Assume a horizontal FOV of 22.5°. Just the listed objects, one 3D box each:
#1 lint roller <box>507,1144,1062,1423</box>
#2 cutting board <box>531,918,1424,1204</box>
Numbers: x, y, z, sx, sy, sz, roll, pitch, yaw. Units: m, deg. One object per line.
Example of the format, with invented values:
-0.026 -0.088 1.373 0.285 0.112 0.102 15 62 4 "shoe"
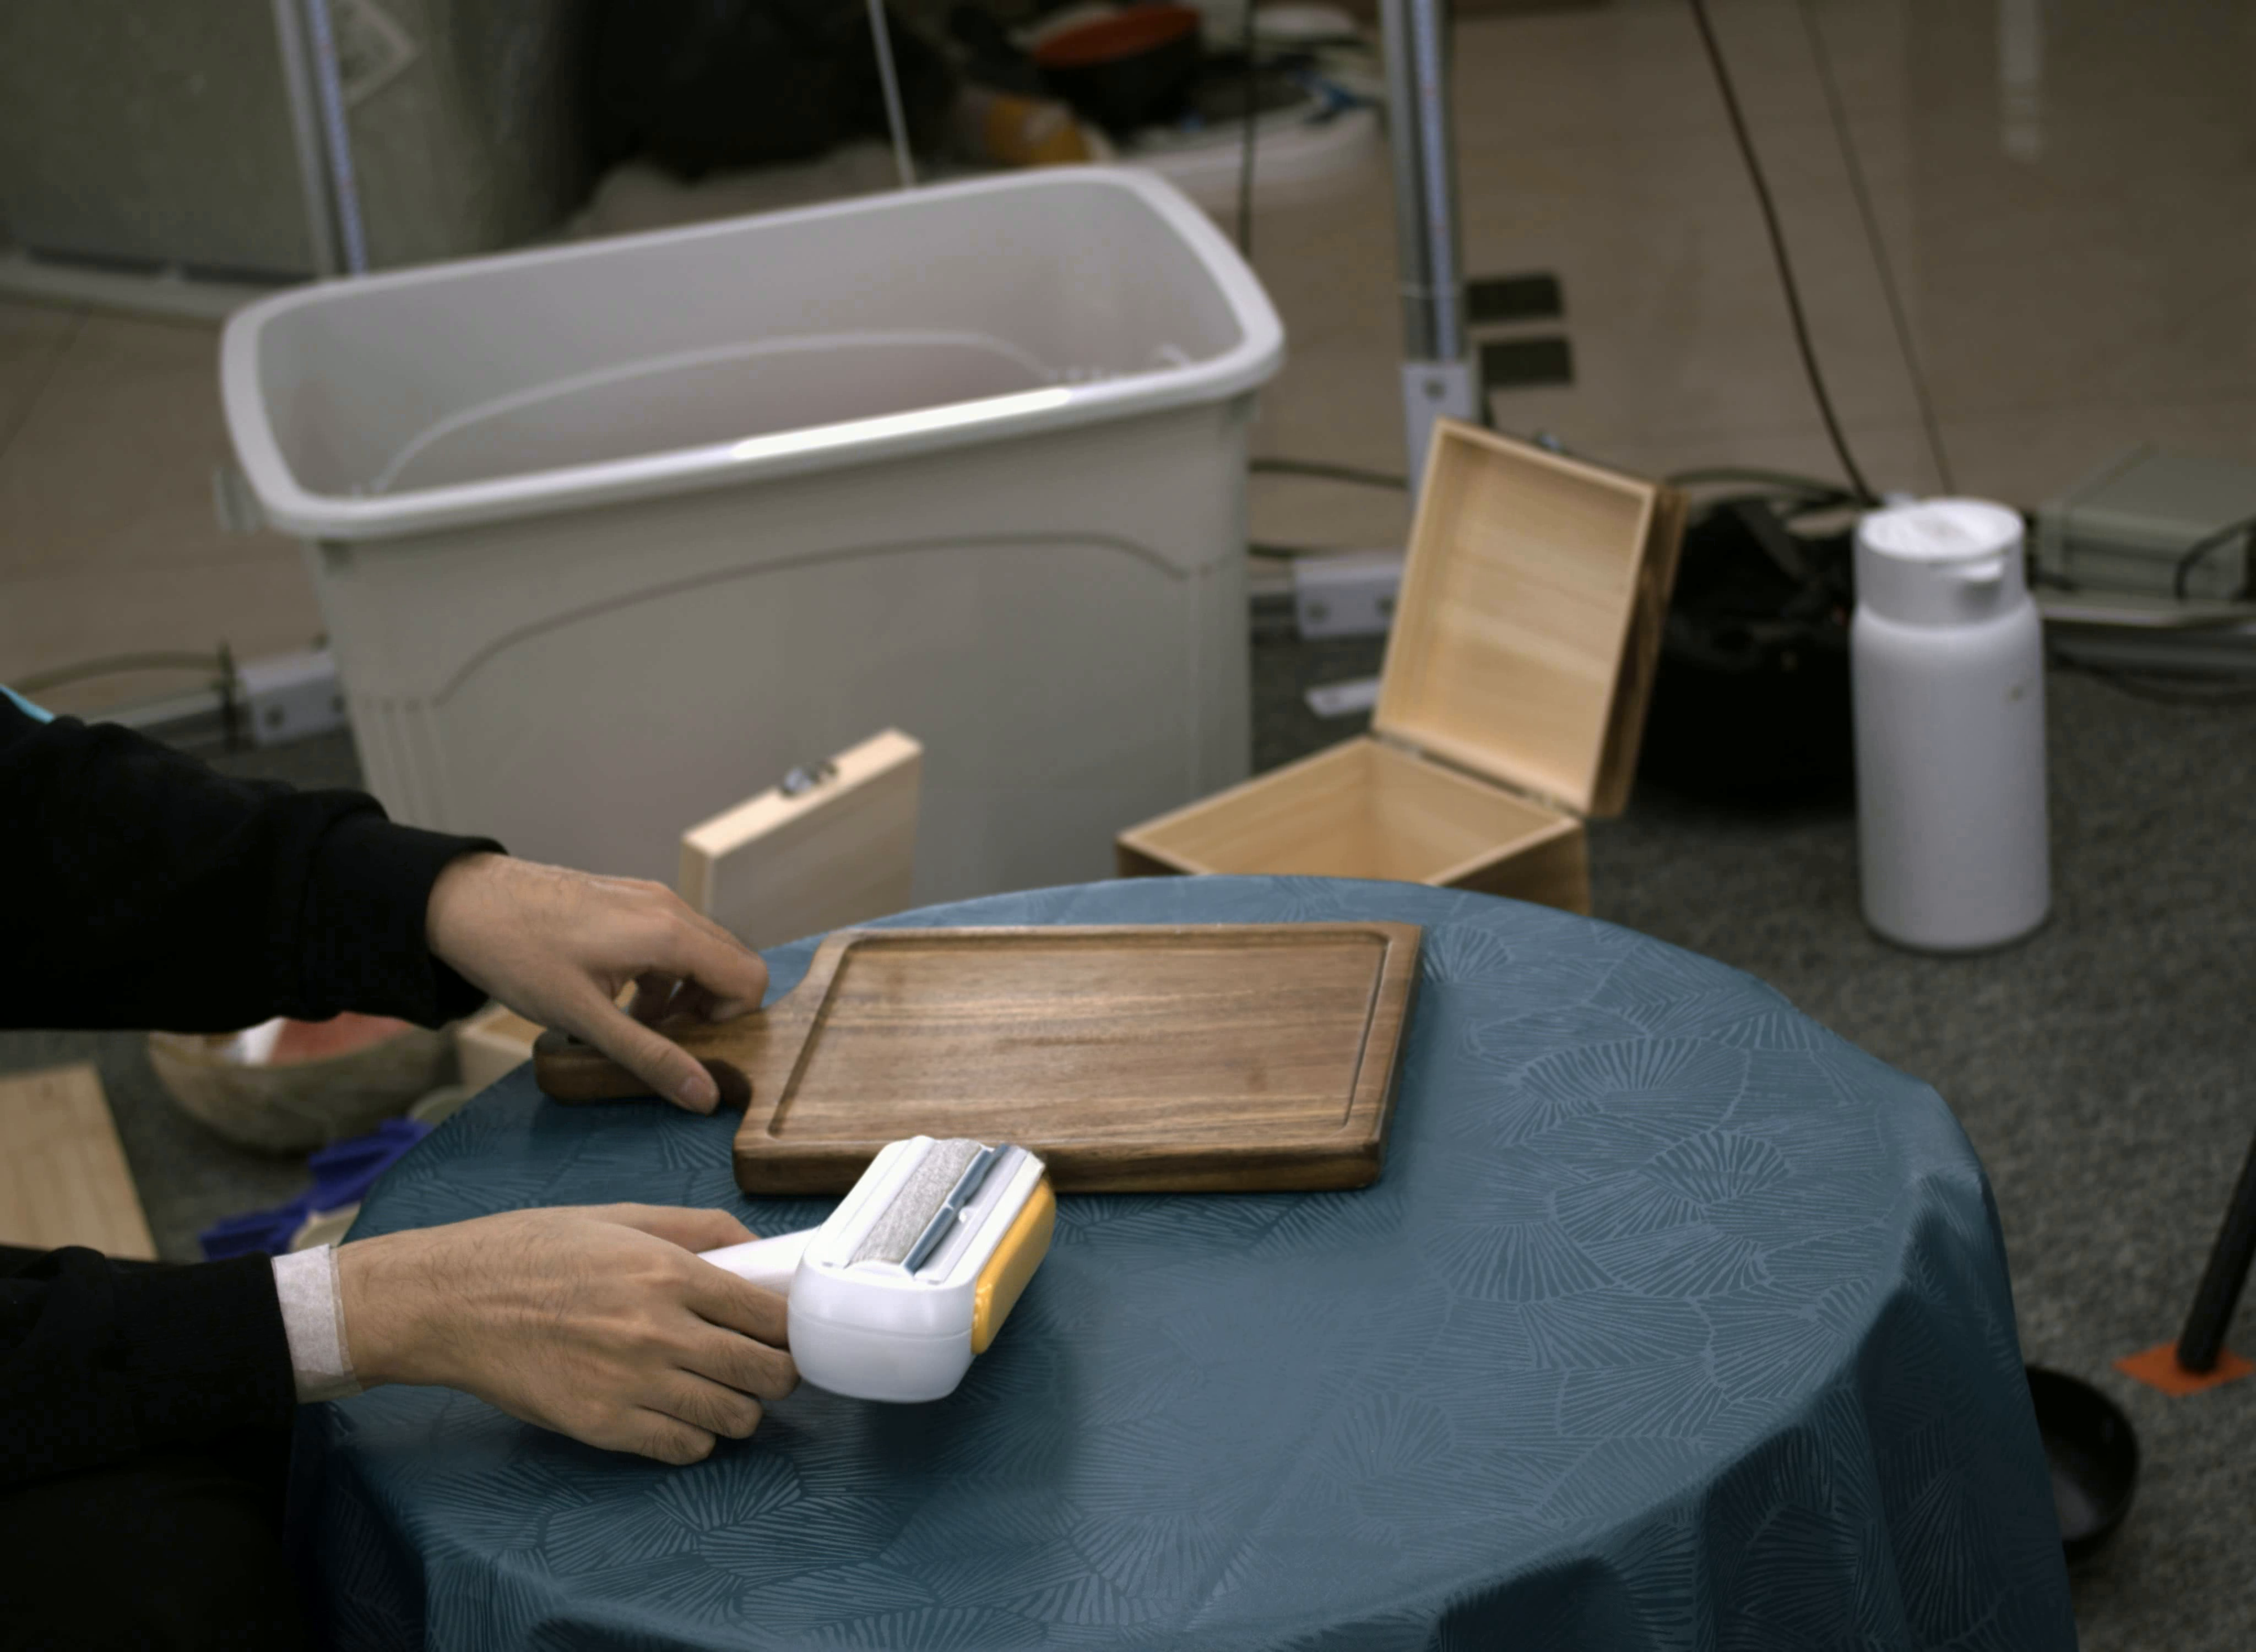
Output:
-0.132 0.166 2.028 0.192 0.075 0.191 0 17 14 "lint roller"
-0.063 0.092 2.234 0.351 0.023 0.198 -2 26 9 "cutting board"
